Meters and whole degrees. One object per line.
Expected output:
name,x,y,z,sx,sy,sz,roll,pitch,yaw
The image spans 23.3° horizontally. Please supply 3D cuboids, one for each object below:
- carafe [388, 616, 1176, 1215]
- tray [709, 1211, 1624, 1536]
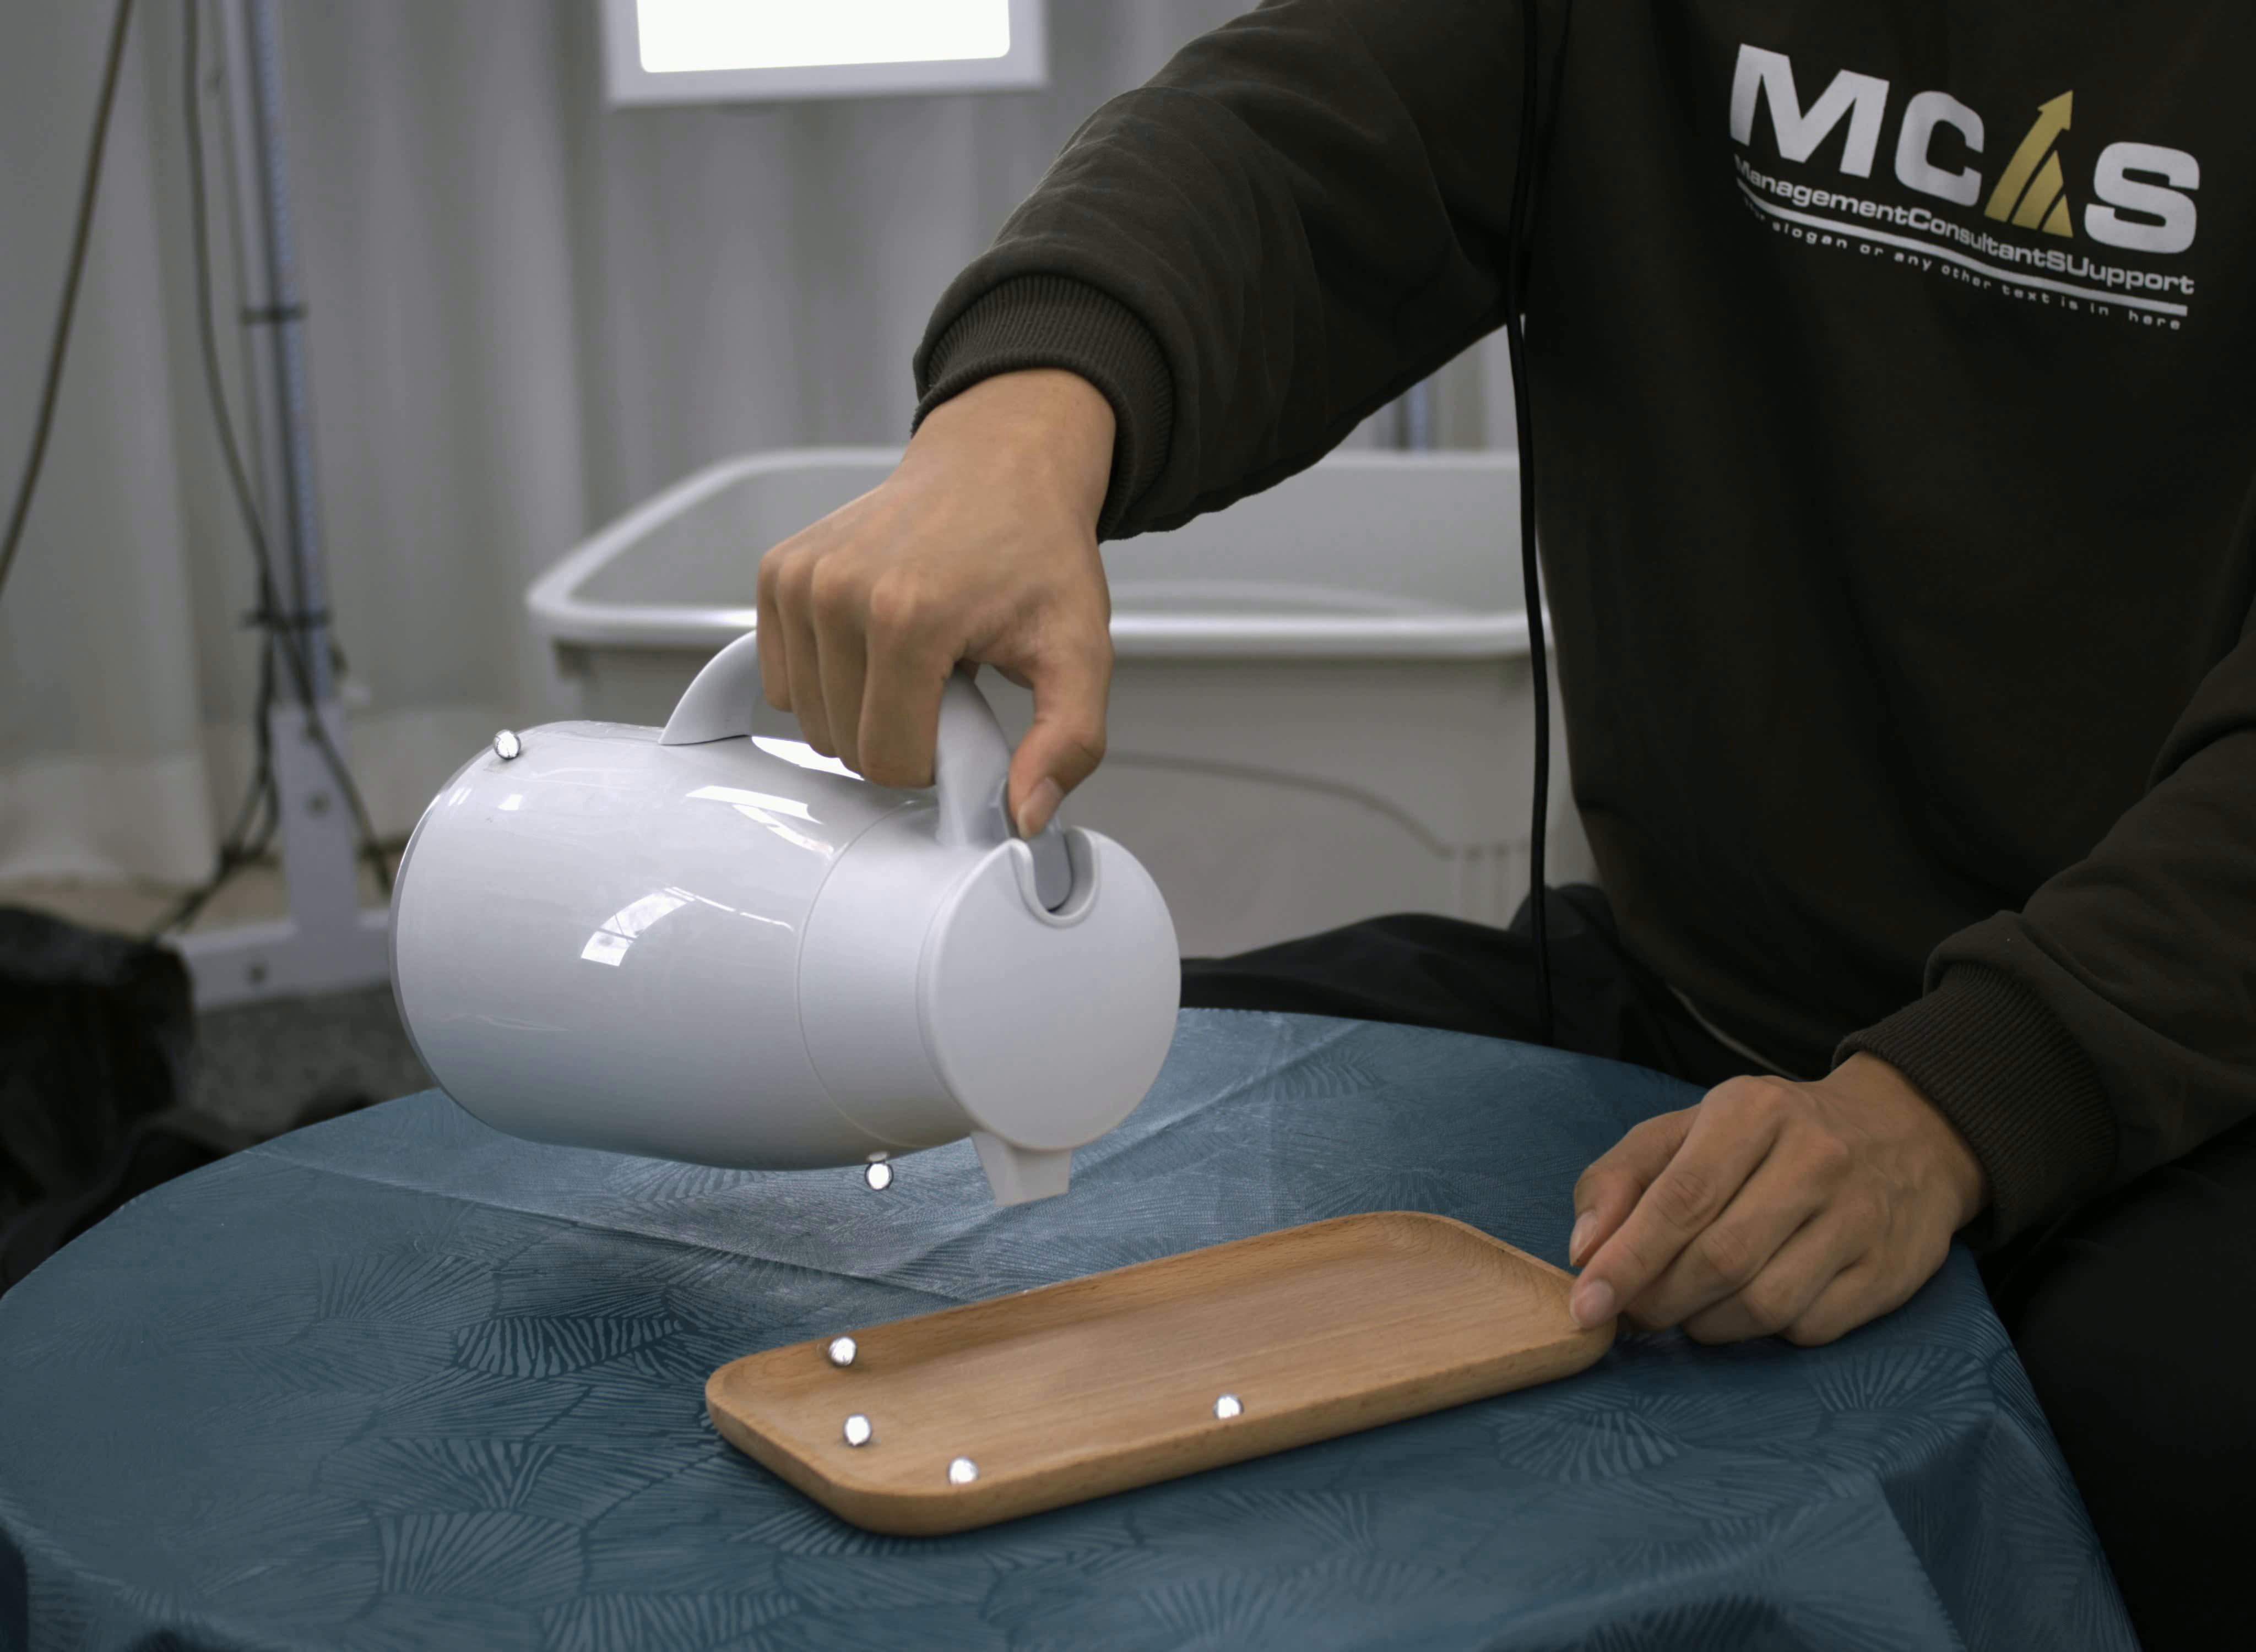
carafe,-0.098,0.022,1.608,0.132,0.167,0.249,-11,10,-39
tray,0.012,0.153,1.543,0.249,0.023,0.131,-10,19,-27
